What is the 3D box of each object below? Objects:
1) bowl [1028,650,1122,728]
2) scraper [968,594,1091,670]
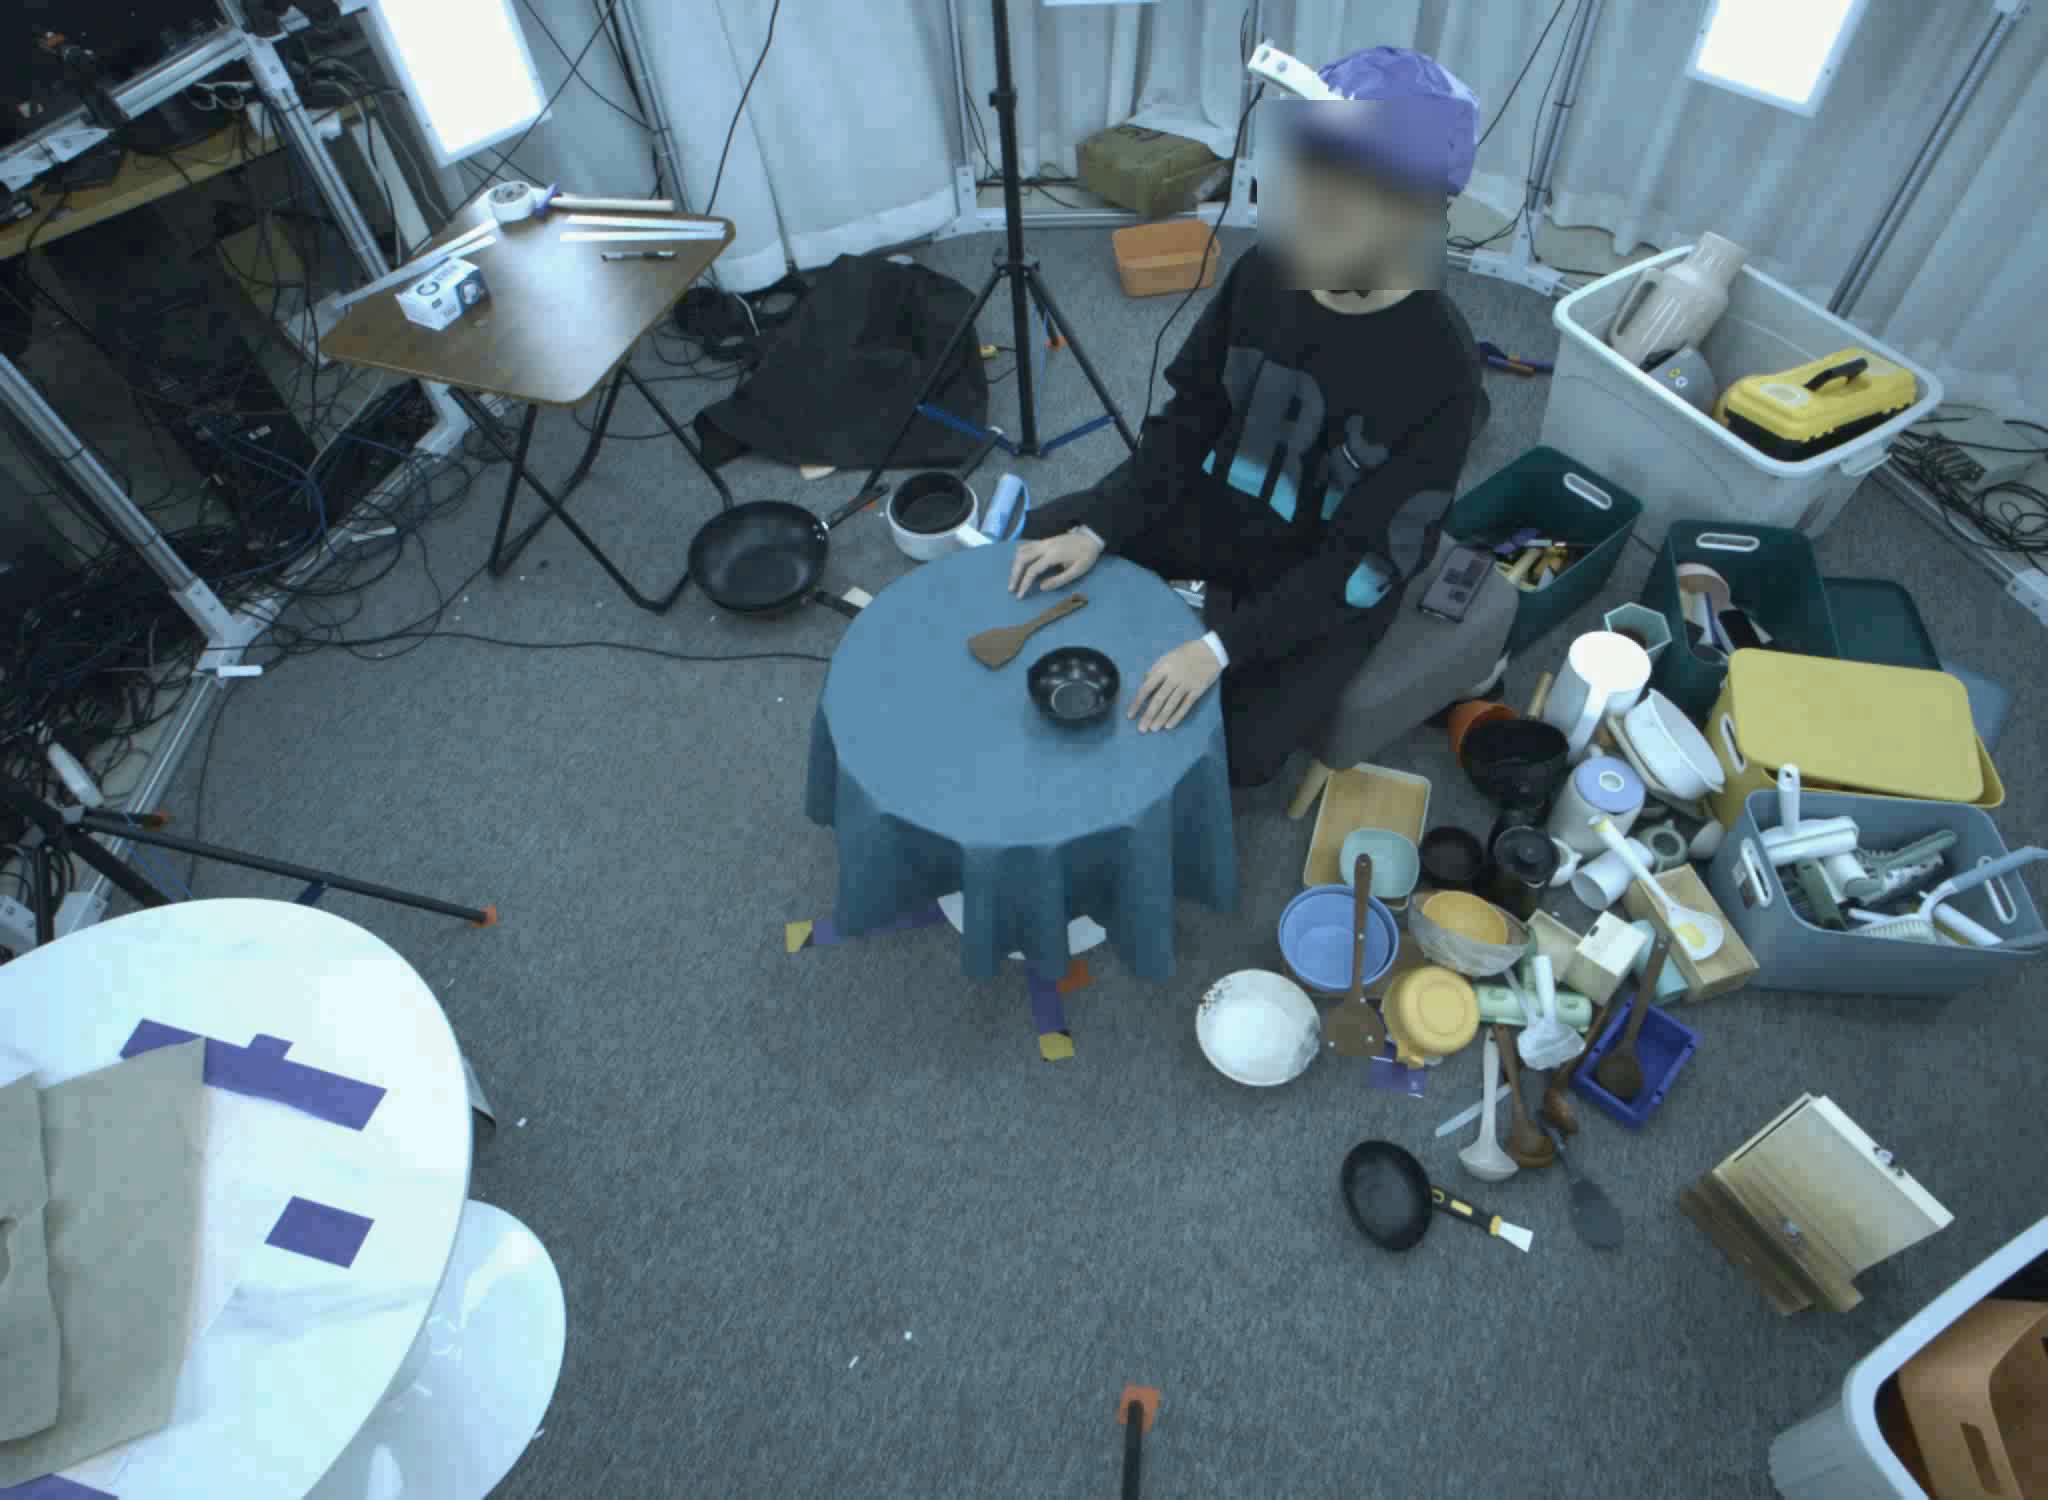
[{"bbox_3d":[0.077,-0.081,1.823,0.140,0.050,0.138,-1,52,3],"label":"bowl"},{"bbox_3d":[0.014,-0.191,1.927,0.213,0.011,0.074,-31,61,-19],"label":"scraper"}]
